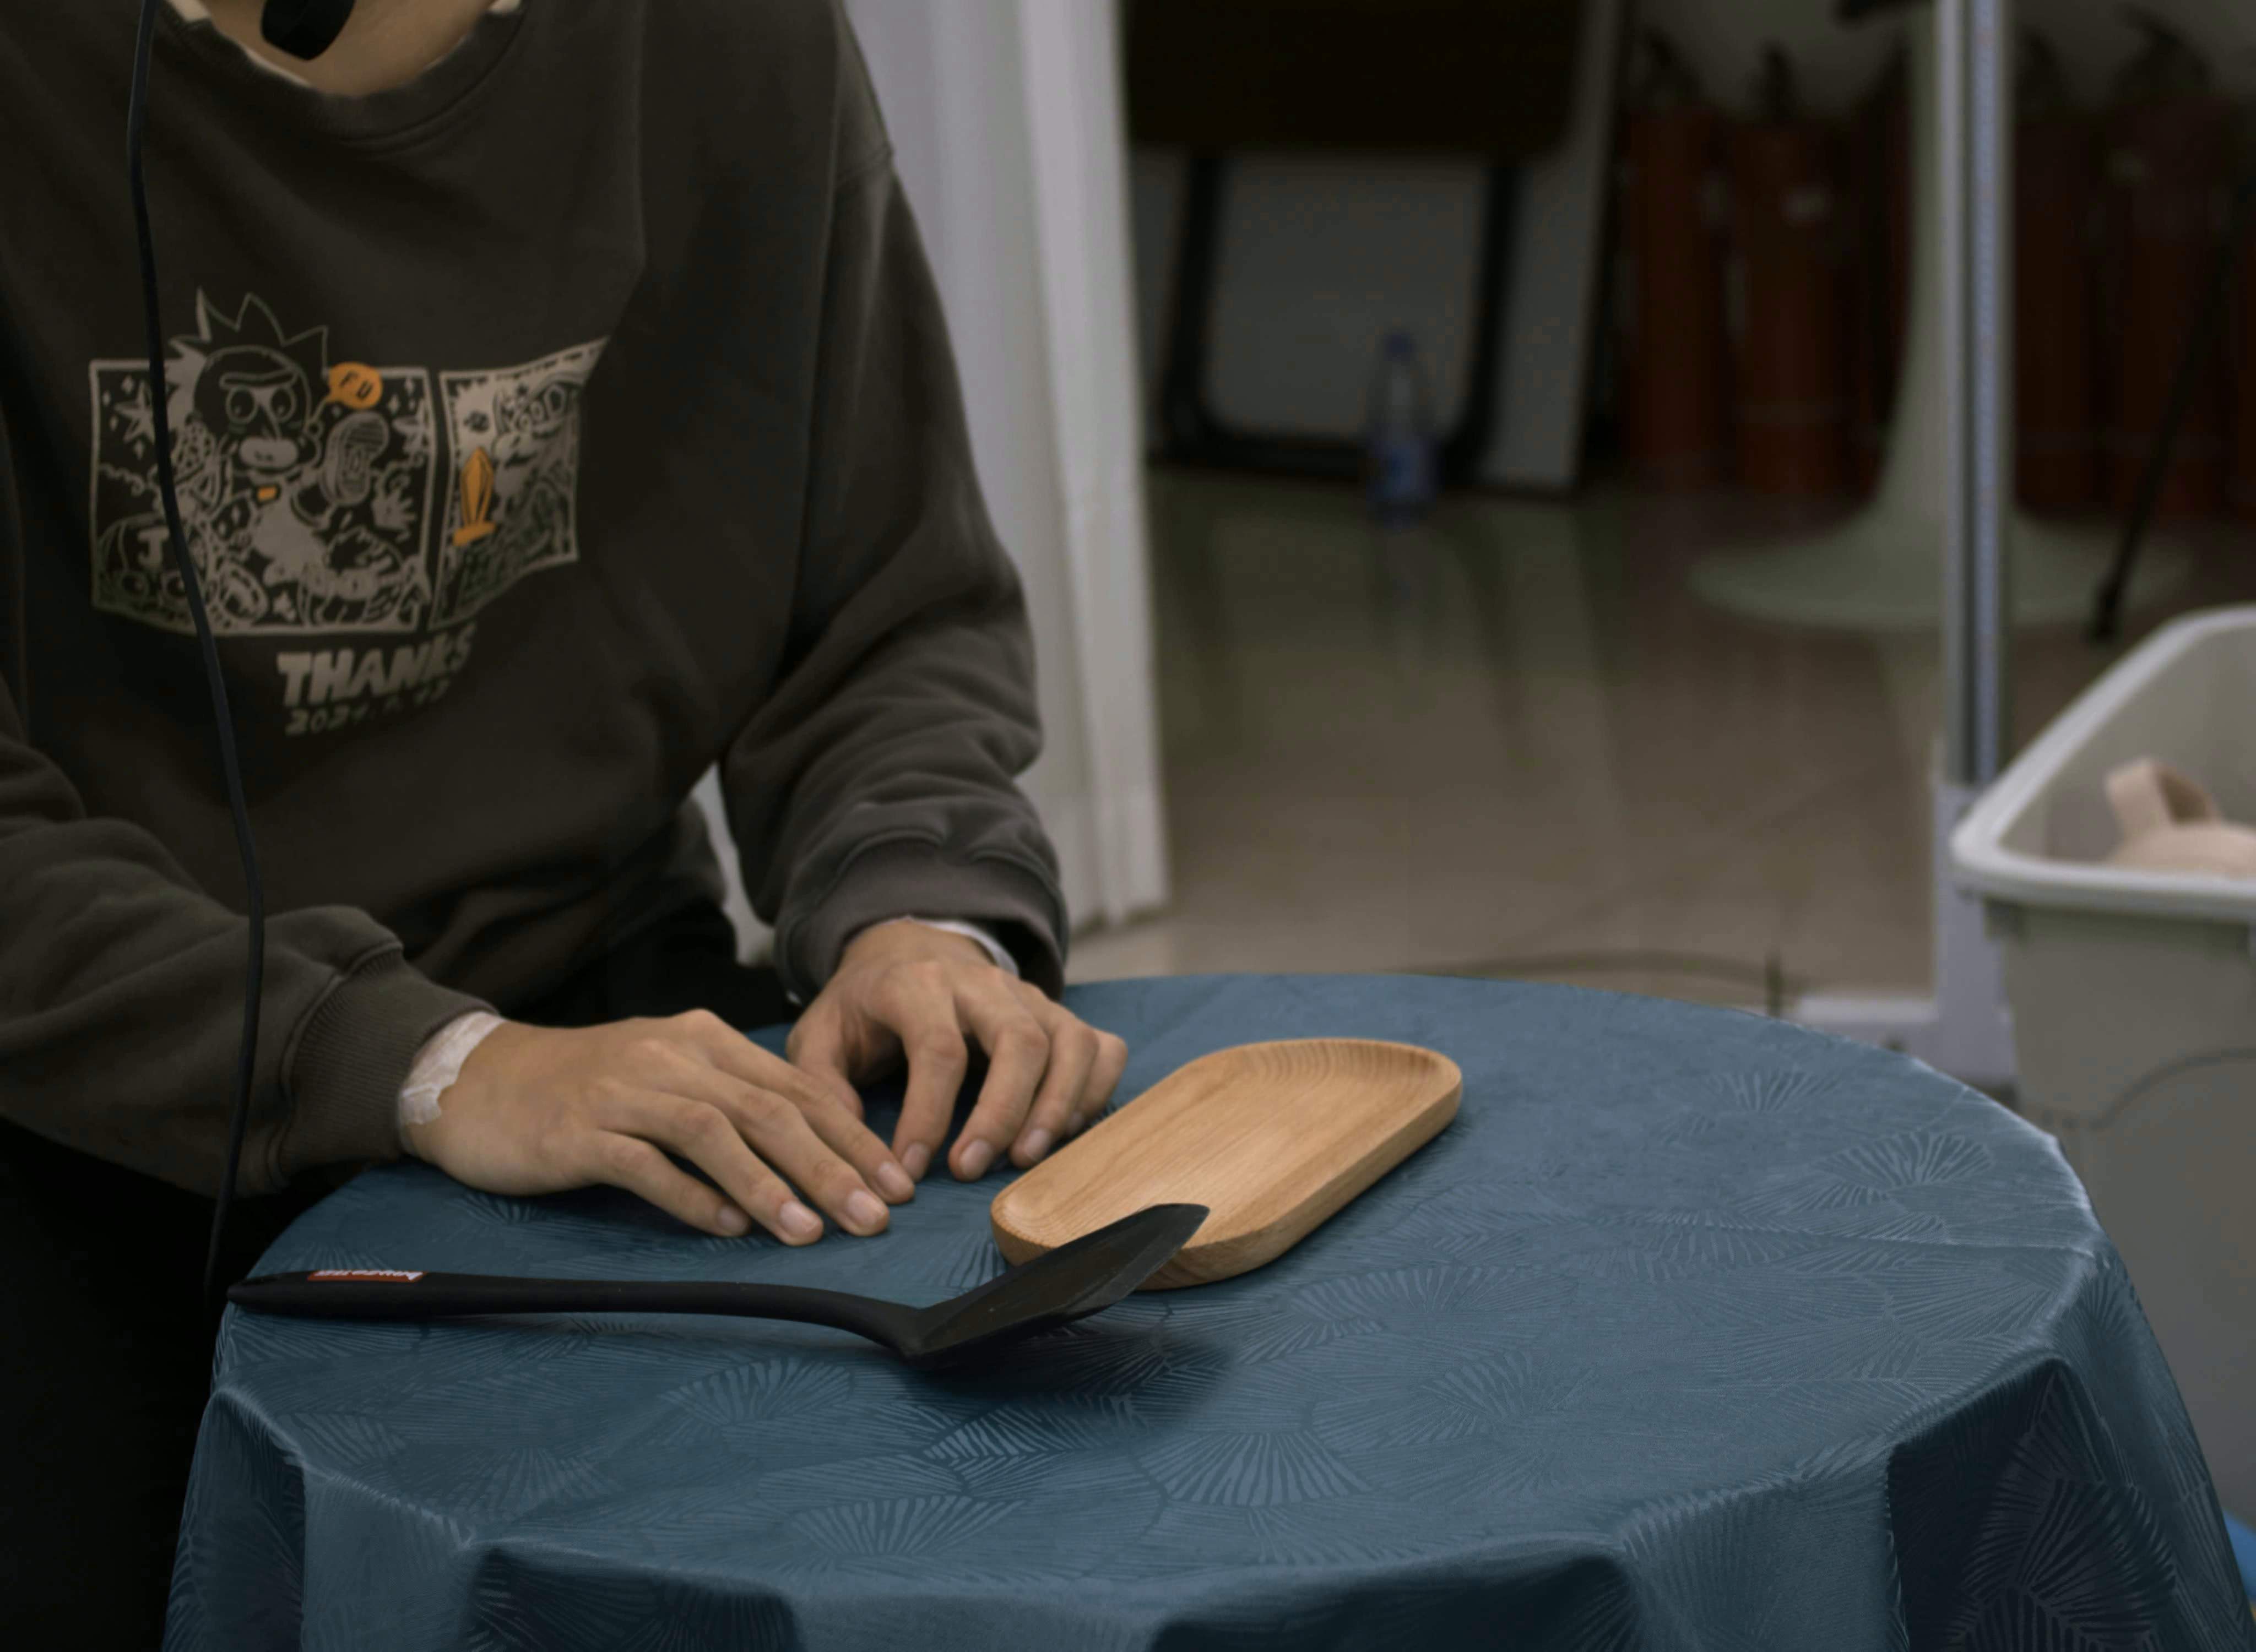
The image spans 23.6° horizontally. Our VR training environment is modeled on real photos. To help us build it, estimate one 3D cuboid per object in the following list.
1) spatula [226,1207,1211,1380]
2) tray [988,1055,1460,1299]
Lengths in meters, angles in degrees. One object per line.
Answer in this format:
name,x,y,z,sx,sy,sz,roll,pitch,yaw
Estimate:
spatula,-0.134,0.141,1.657,0.326,0.041,0.098,1,13,22
tray,0.034,0.113,1.768,0.102,0.020,0.228,2,16,27
